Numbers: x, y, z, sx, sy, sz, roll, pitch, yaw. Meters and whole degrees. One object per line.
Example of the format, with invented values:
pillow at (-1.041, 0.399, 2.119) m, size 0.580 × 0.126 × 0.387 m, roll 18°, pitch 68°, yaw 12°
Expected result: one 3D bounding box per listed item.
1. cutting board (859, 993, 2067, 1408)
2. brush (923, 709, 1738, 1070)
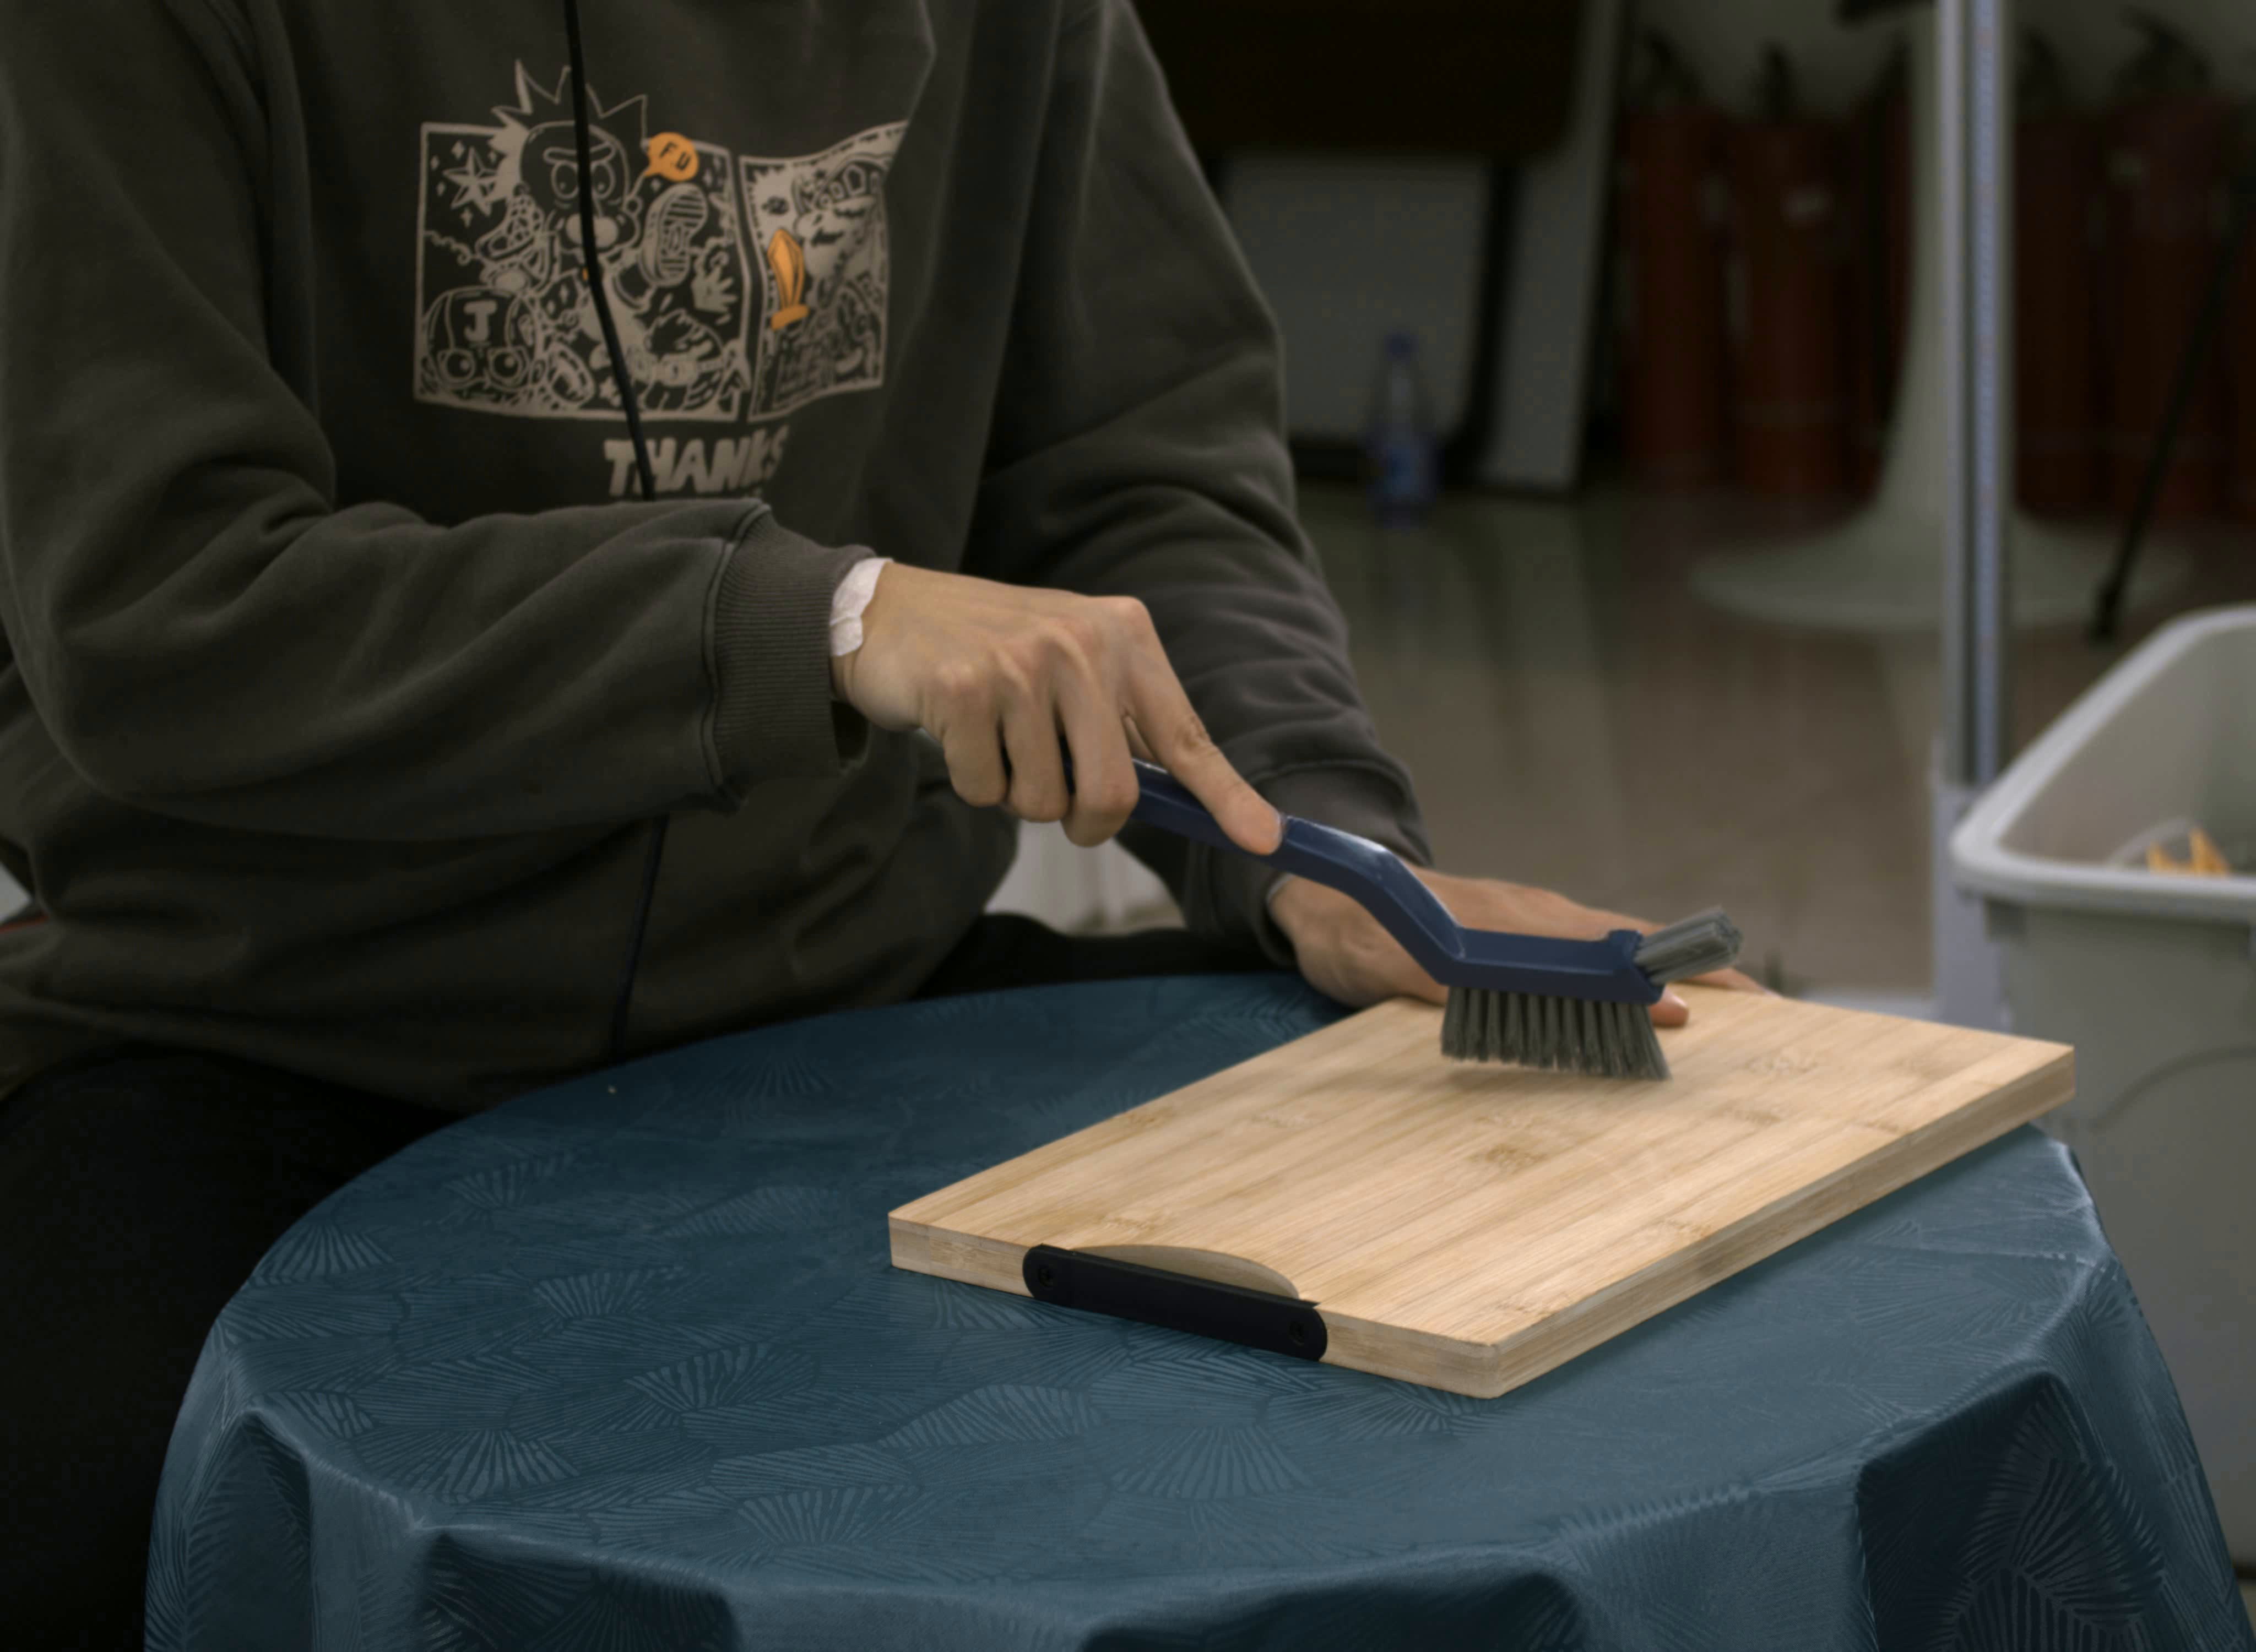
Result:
cutting board at (0.116, 0.112, 1.751) m, size 0.252 × 0.024 × 0.342 m, roll 6°, pitch 17°, yaw 39°
brush at (0.065, 0.006, 1.797) m, size 0.272 × 0.097 × 0.033 m, roll 27°, pitch 32°, yaw 5°
